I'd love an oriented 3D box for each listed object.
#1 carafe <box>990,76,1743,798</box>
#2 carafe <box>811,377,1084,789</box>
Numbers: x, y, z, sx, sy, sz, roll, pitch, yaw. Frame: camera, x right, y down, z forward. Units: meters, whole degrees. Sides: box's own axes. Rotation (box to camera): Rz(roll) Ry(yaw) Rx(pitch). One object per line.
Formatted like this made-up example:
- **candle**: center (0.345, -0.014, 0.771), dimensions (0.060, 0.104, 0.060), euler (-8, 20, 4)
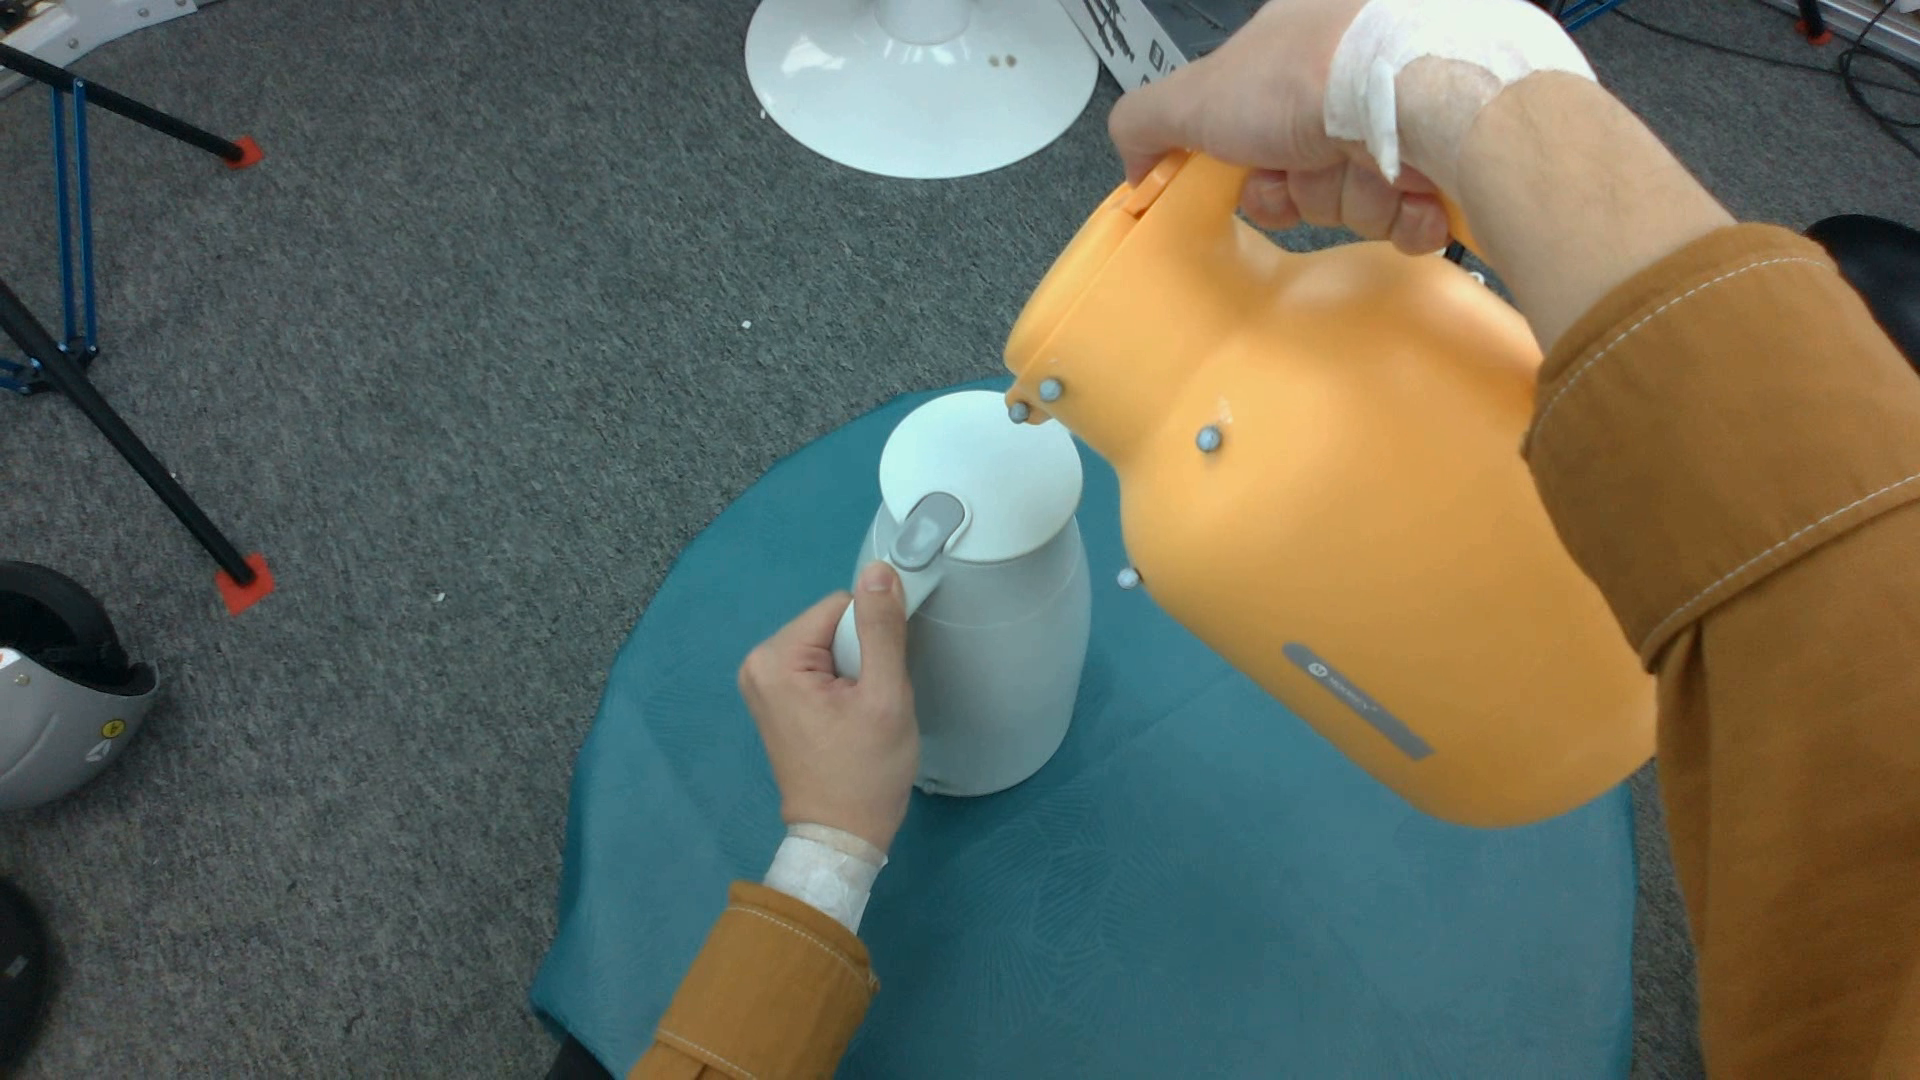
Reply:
- **carafe**: center (0.143, -0.040, 0.492), dimensions (0.260, 0.201, 0.164), euler (34, 56, -3)
- **carafe**: center (-0.009, 0.036, 0.704), dimensions (0.132, 0.247, 0.168), euler (36, 65, 17)
